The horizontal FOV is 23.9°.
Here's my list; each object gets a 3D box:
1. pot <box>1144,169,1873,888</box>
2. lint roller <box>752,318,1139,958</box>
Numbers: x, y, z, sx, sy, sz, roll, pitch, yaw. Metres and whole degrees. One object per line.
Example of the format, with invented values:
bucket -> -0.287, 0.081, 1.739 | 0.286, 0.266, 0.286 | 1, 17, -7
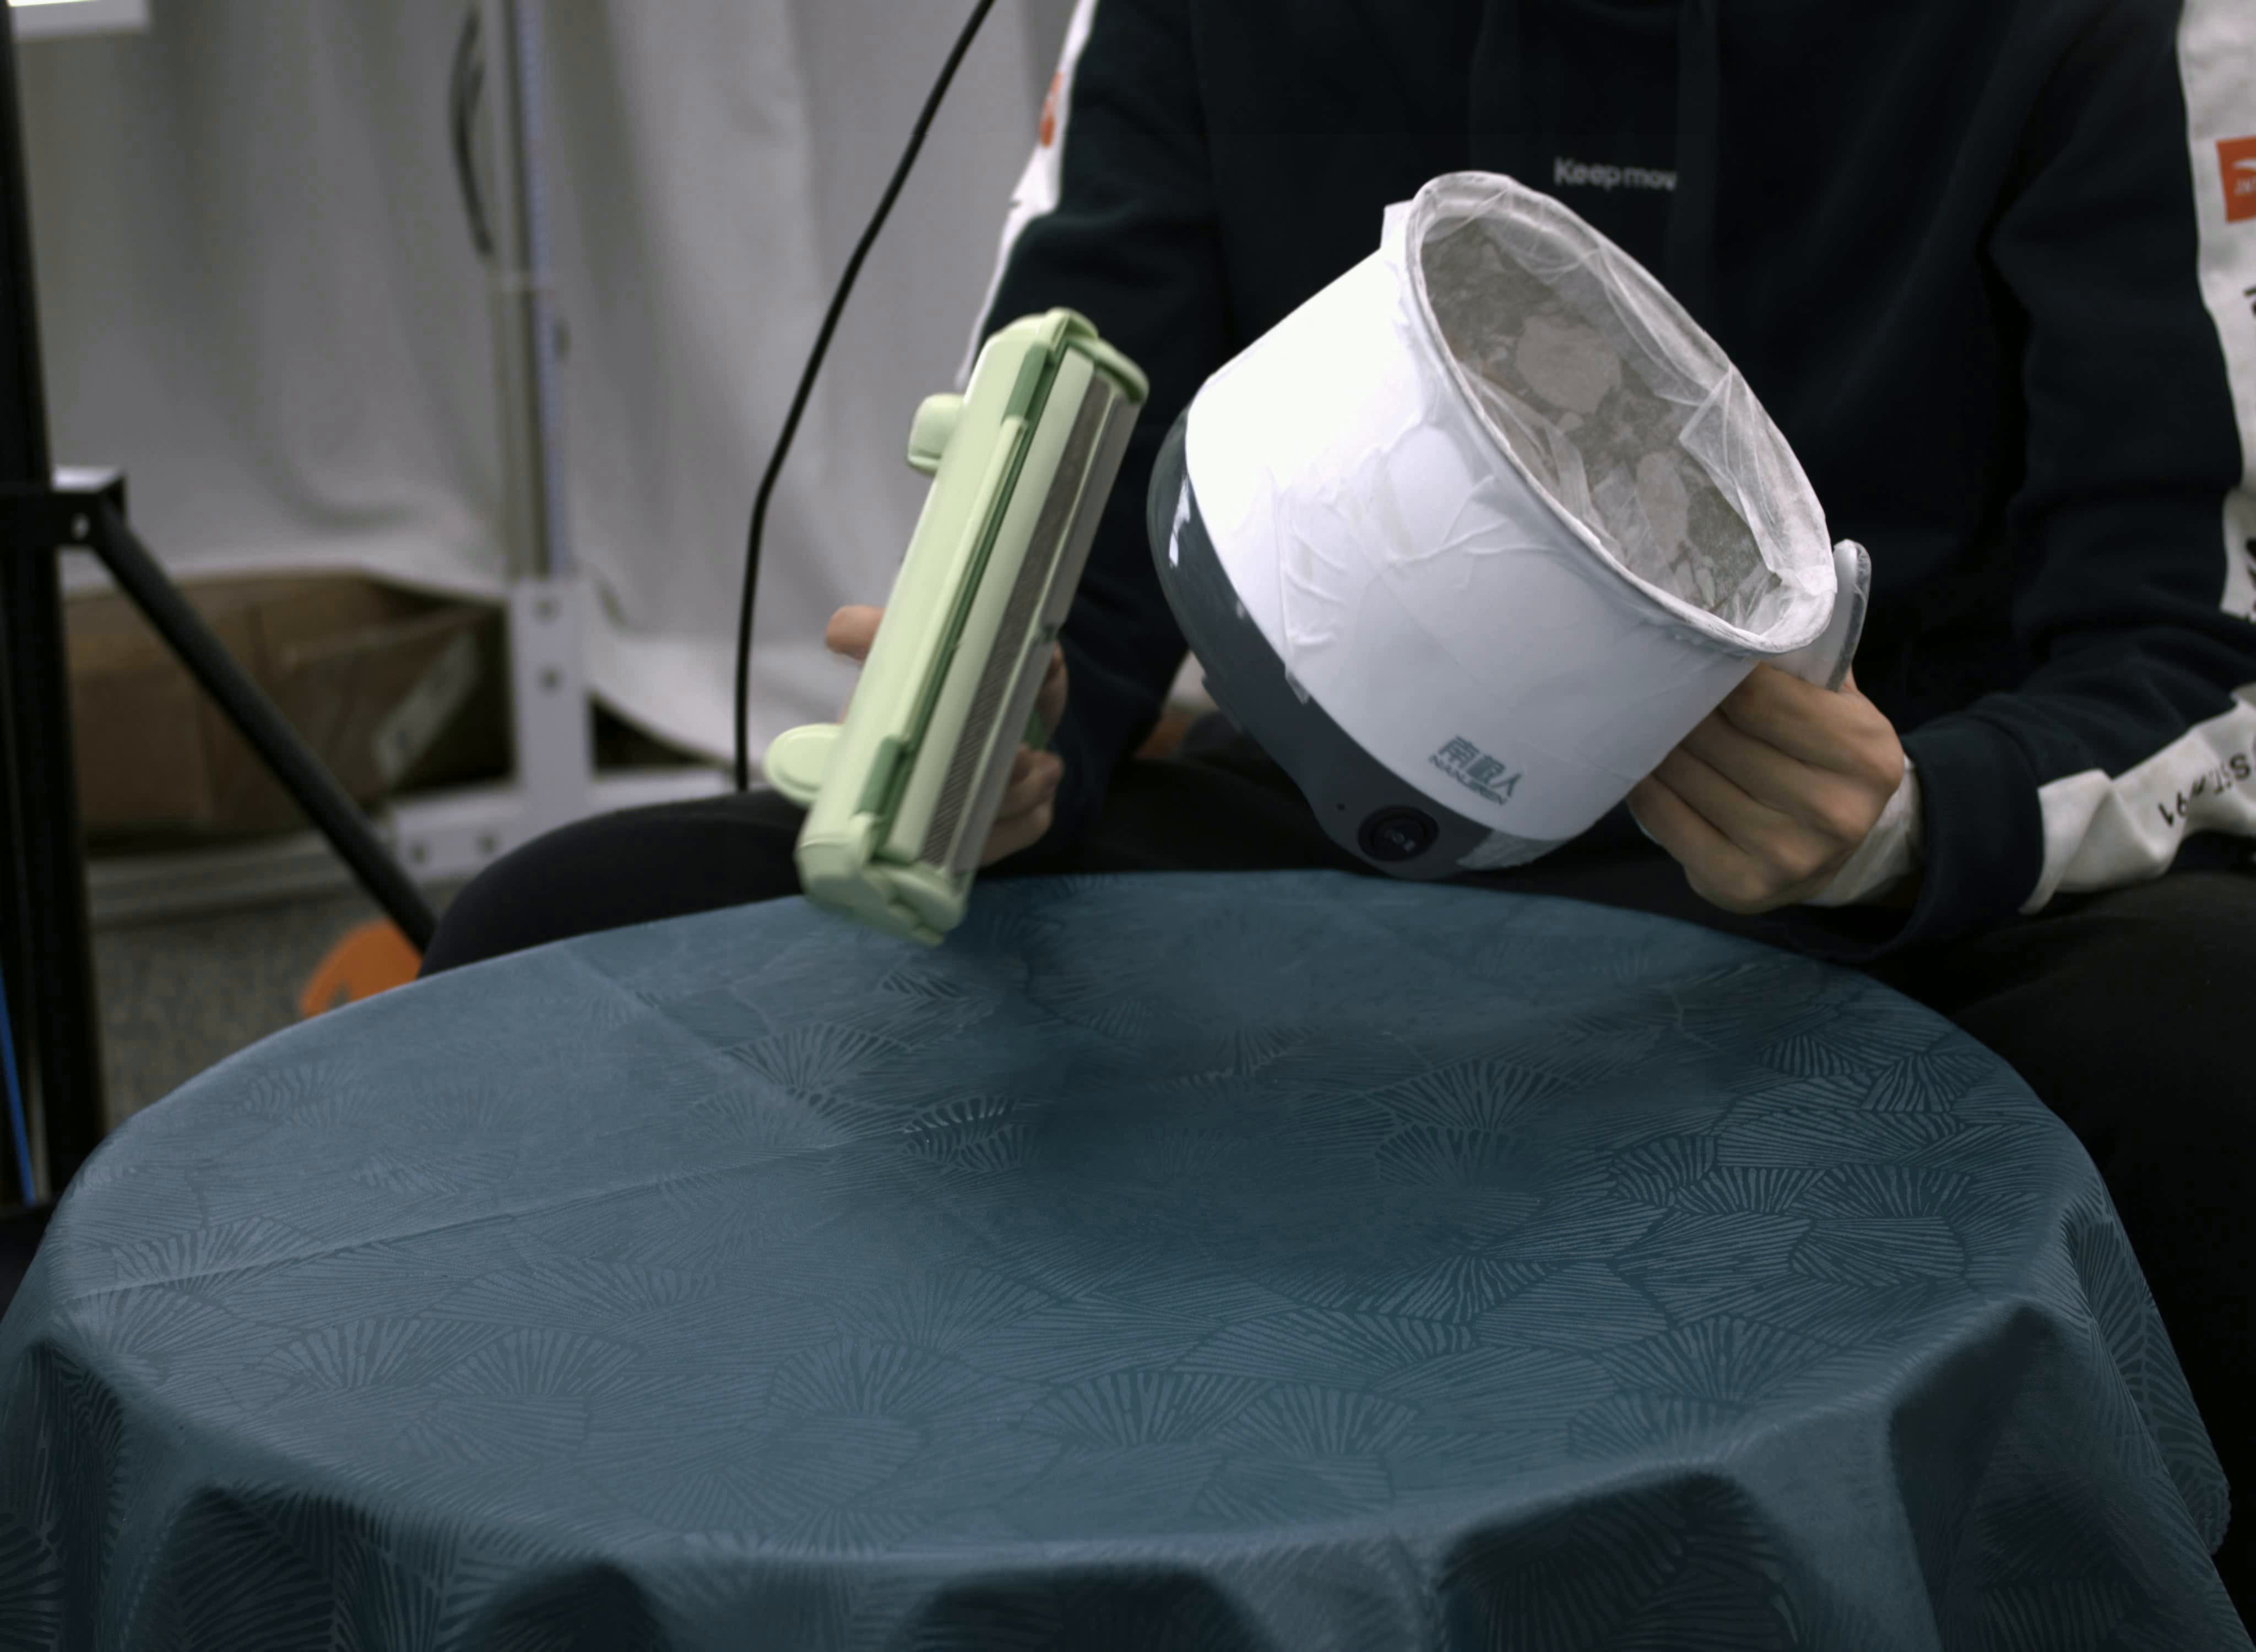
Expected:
pot -> 0.124, -0.073, 1.597 | 0.228, 0.138, 0.181 | 28, 35, -30
lint roller -> -0.064, -0.046, 1.691 | 0.082, 0.199, 0.183 | 21, -18, -2
